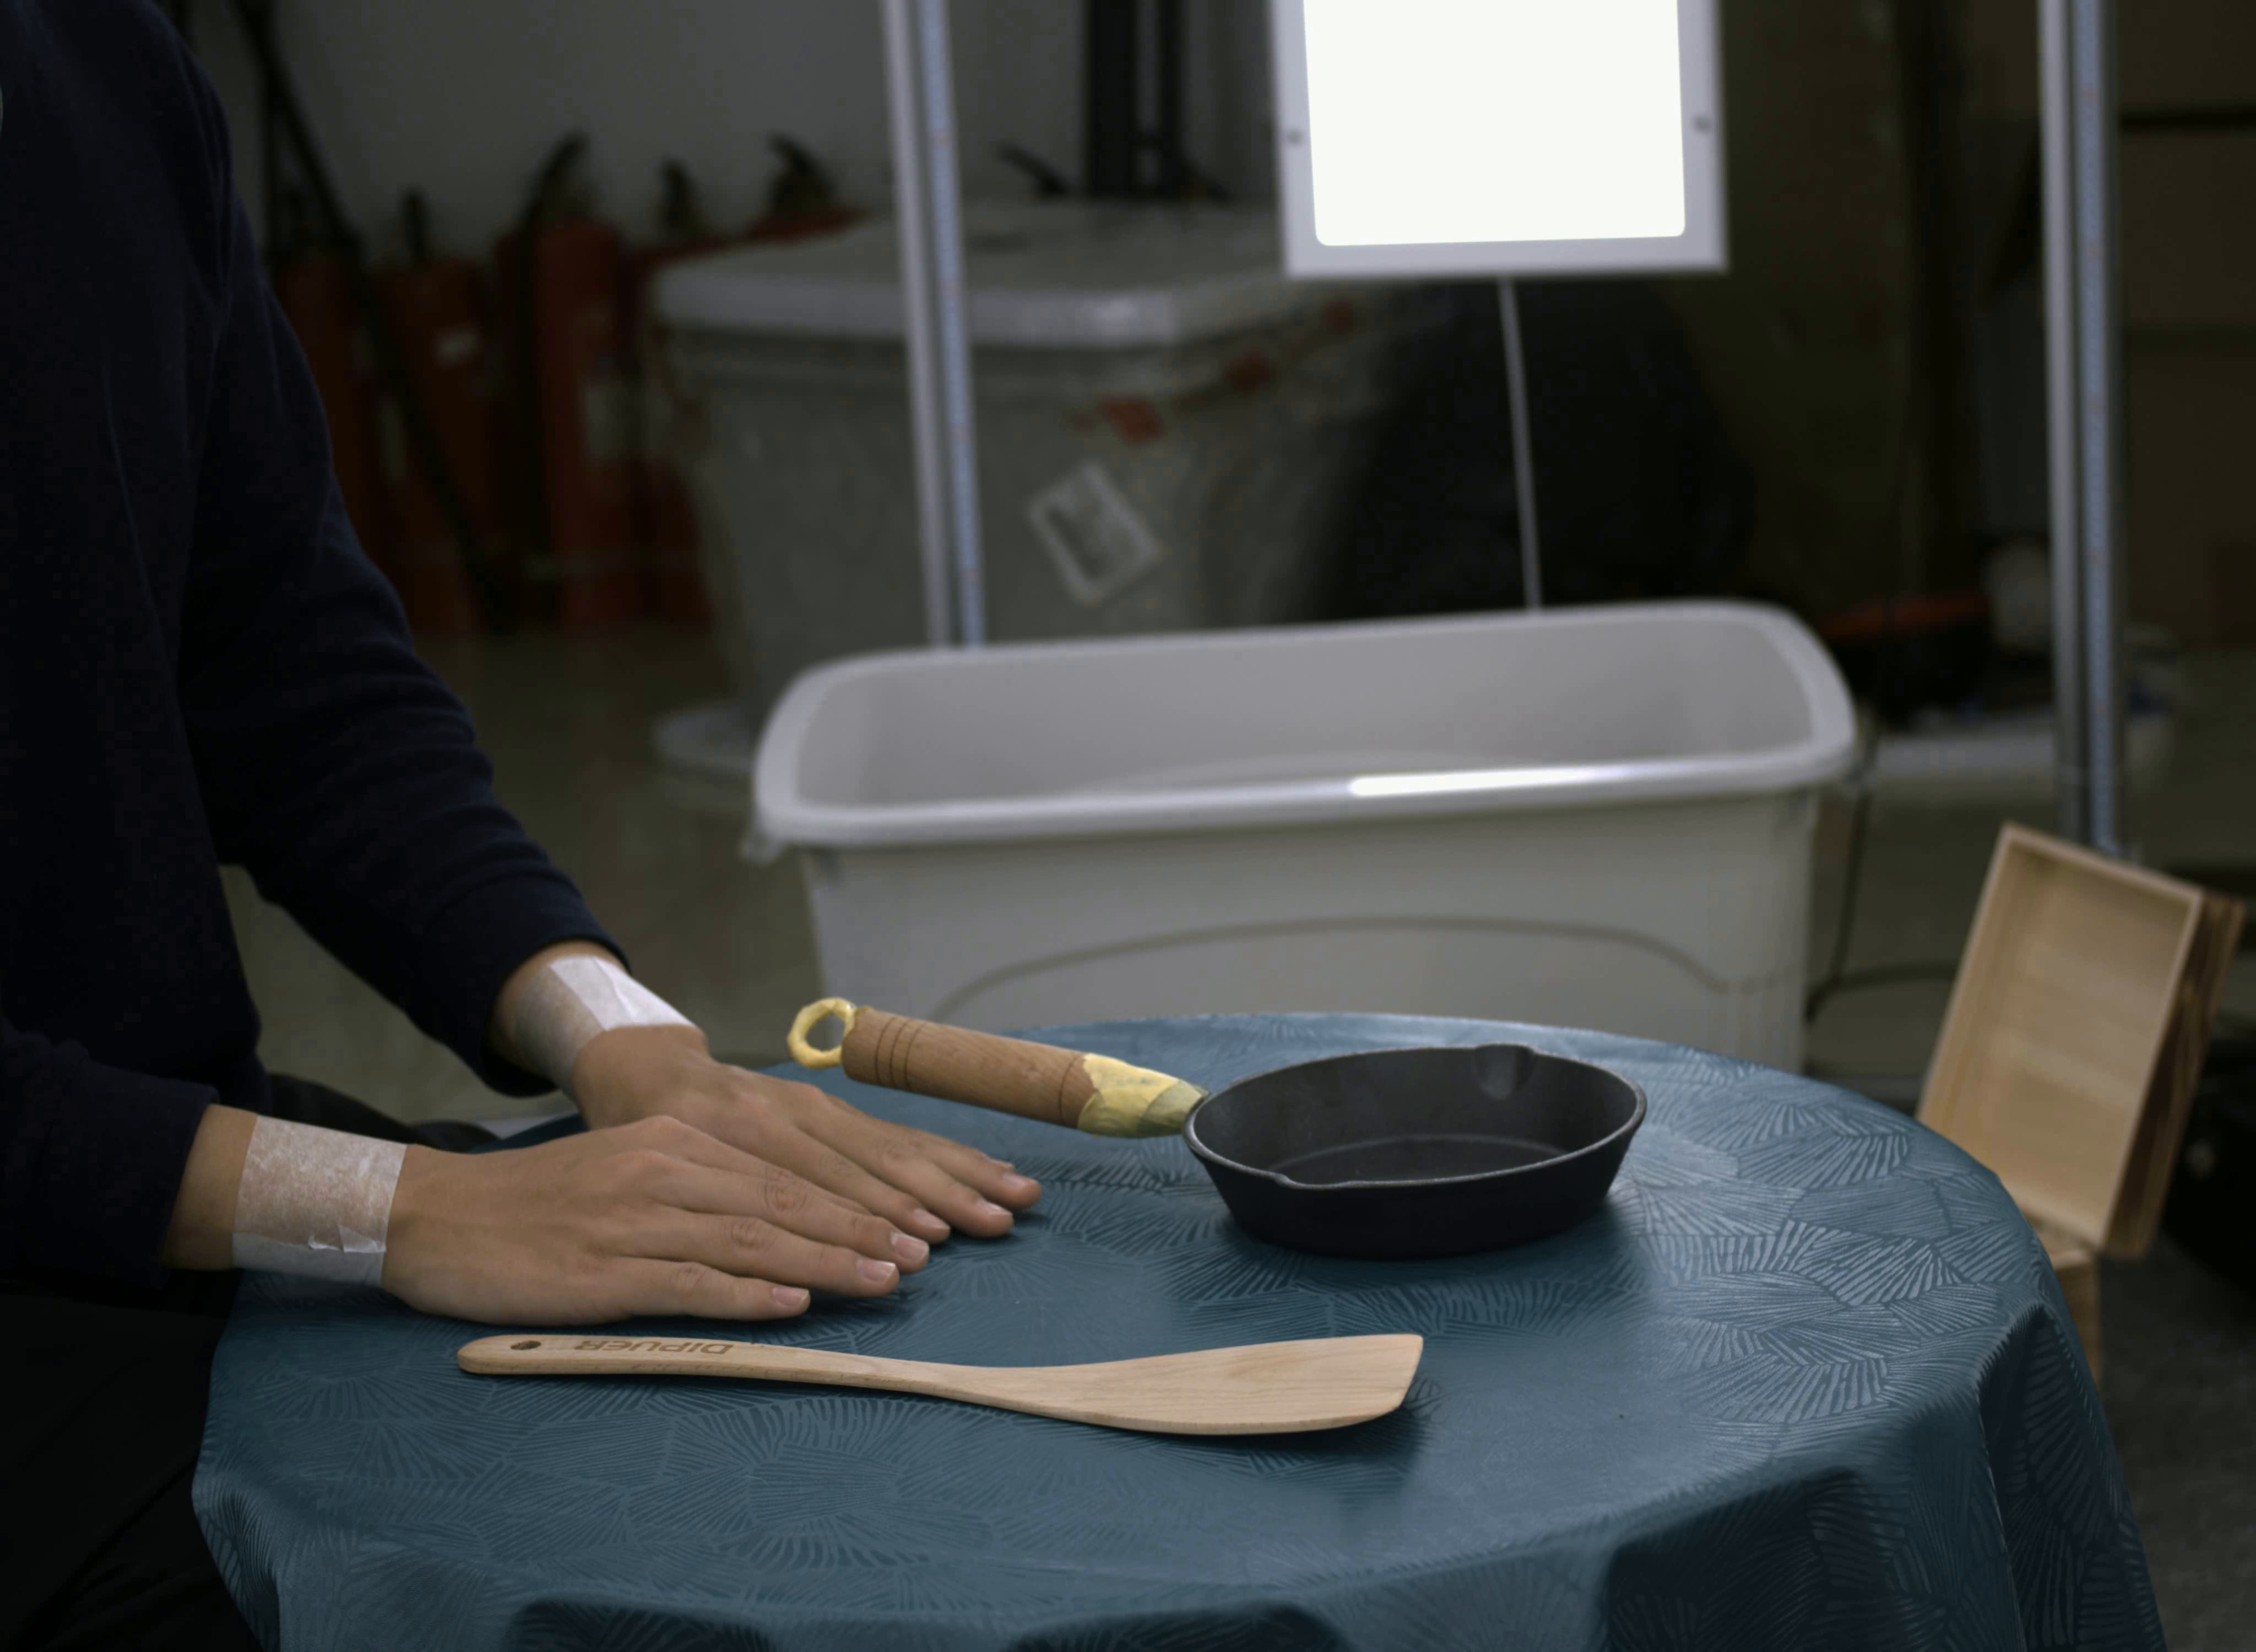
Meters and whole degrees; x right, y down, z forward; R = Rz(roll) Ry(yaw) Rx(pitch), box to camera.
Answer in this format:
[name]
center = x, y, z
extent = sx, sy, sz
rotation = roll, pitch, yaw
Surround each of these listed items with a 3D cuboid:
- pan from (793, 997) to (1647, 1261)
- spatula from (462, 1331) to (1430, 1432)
[pan]
center = 0.024, 0.098, 1.898
extent = 0.330, 0.050, 0.165
rotation = 5, 17, 32
[spatula]
center = -0.060, 0.168, 1.718
extent = 0.332, 0.016, 0.078
rotation = 1, 14, 22
